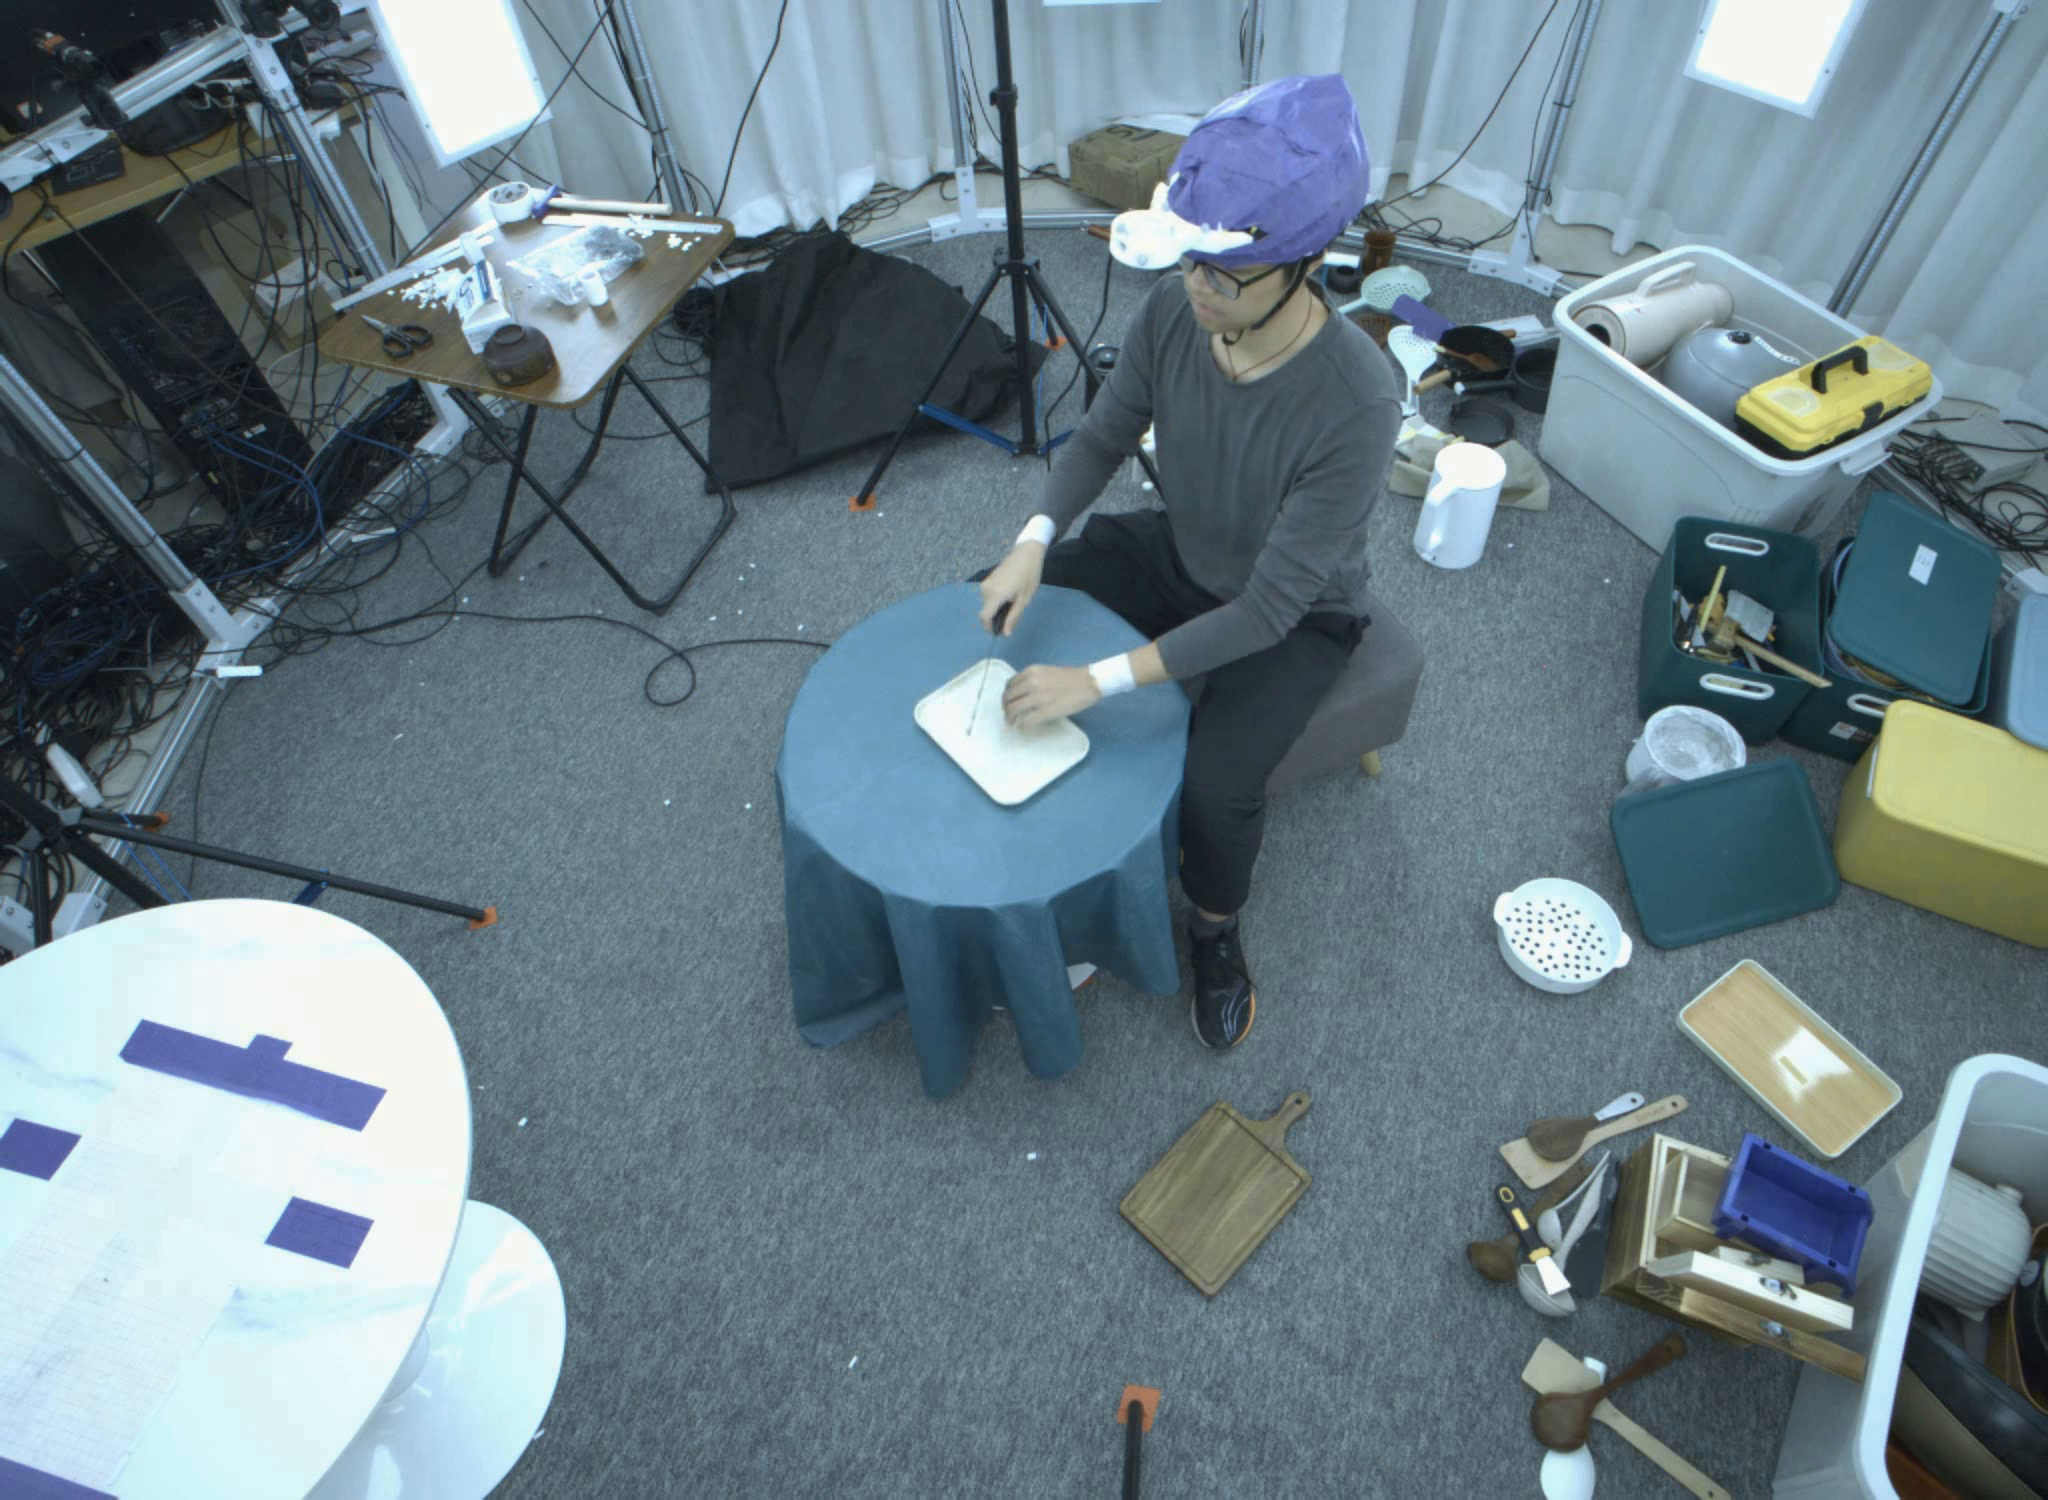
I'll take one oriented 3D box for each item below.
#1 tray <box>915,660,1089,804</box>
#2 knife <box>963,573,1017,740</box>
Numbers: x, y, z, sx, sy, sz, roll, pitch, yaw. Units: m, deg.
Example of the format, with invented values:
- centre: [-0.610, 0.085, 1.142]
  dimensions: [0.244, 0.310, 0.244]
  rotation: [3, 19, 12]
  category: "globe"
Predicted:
- centre: [-0.034, -0.028, 1.805]
  dimensions: [0.172, 0.017, 0.235]
  rotation: [-34, 60, -22]
  category: "tray"
- centre: [-0.051, -0.144, 1.786]
  dimensions: [0.021, 0.081, 0.300]
  rotation: [16, 56, -3]
  category: "knife"
